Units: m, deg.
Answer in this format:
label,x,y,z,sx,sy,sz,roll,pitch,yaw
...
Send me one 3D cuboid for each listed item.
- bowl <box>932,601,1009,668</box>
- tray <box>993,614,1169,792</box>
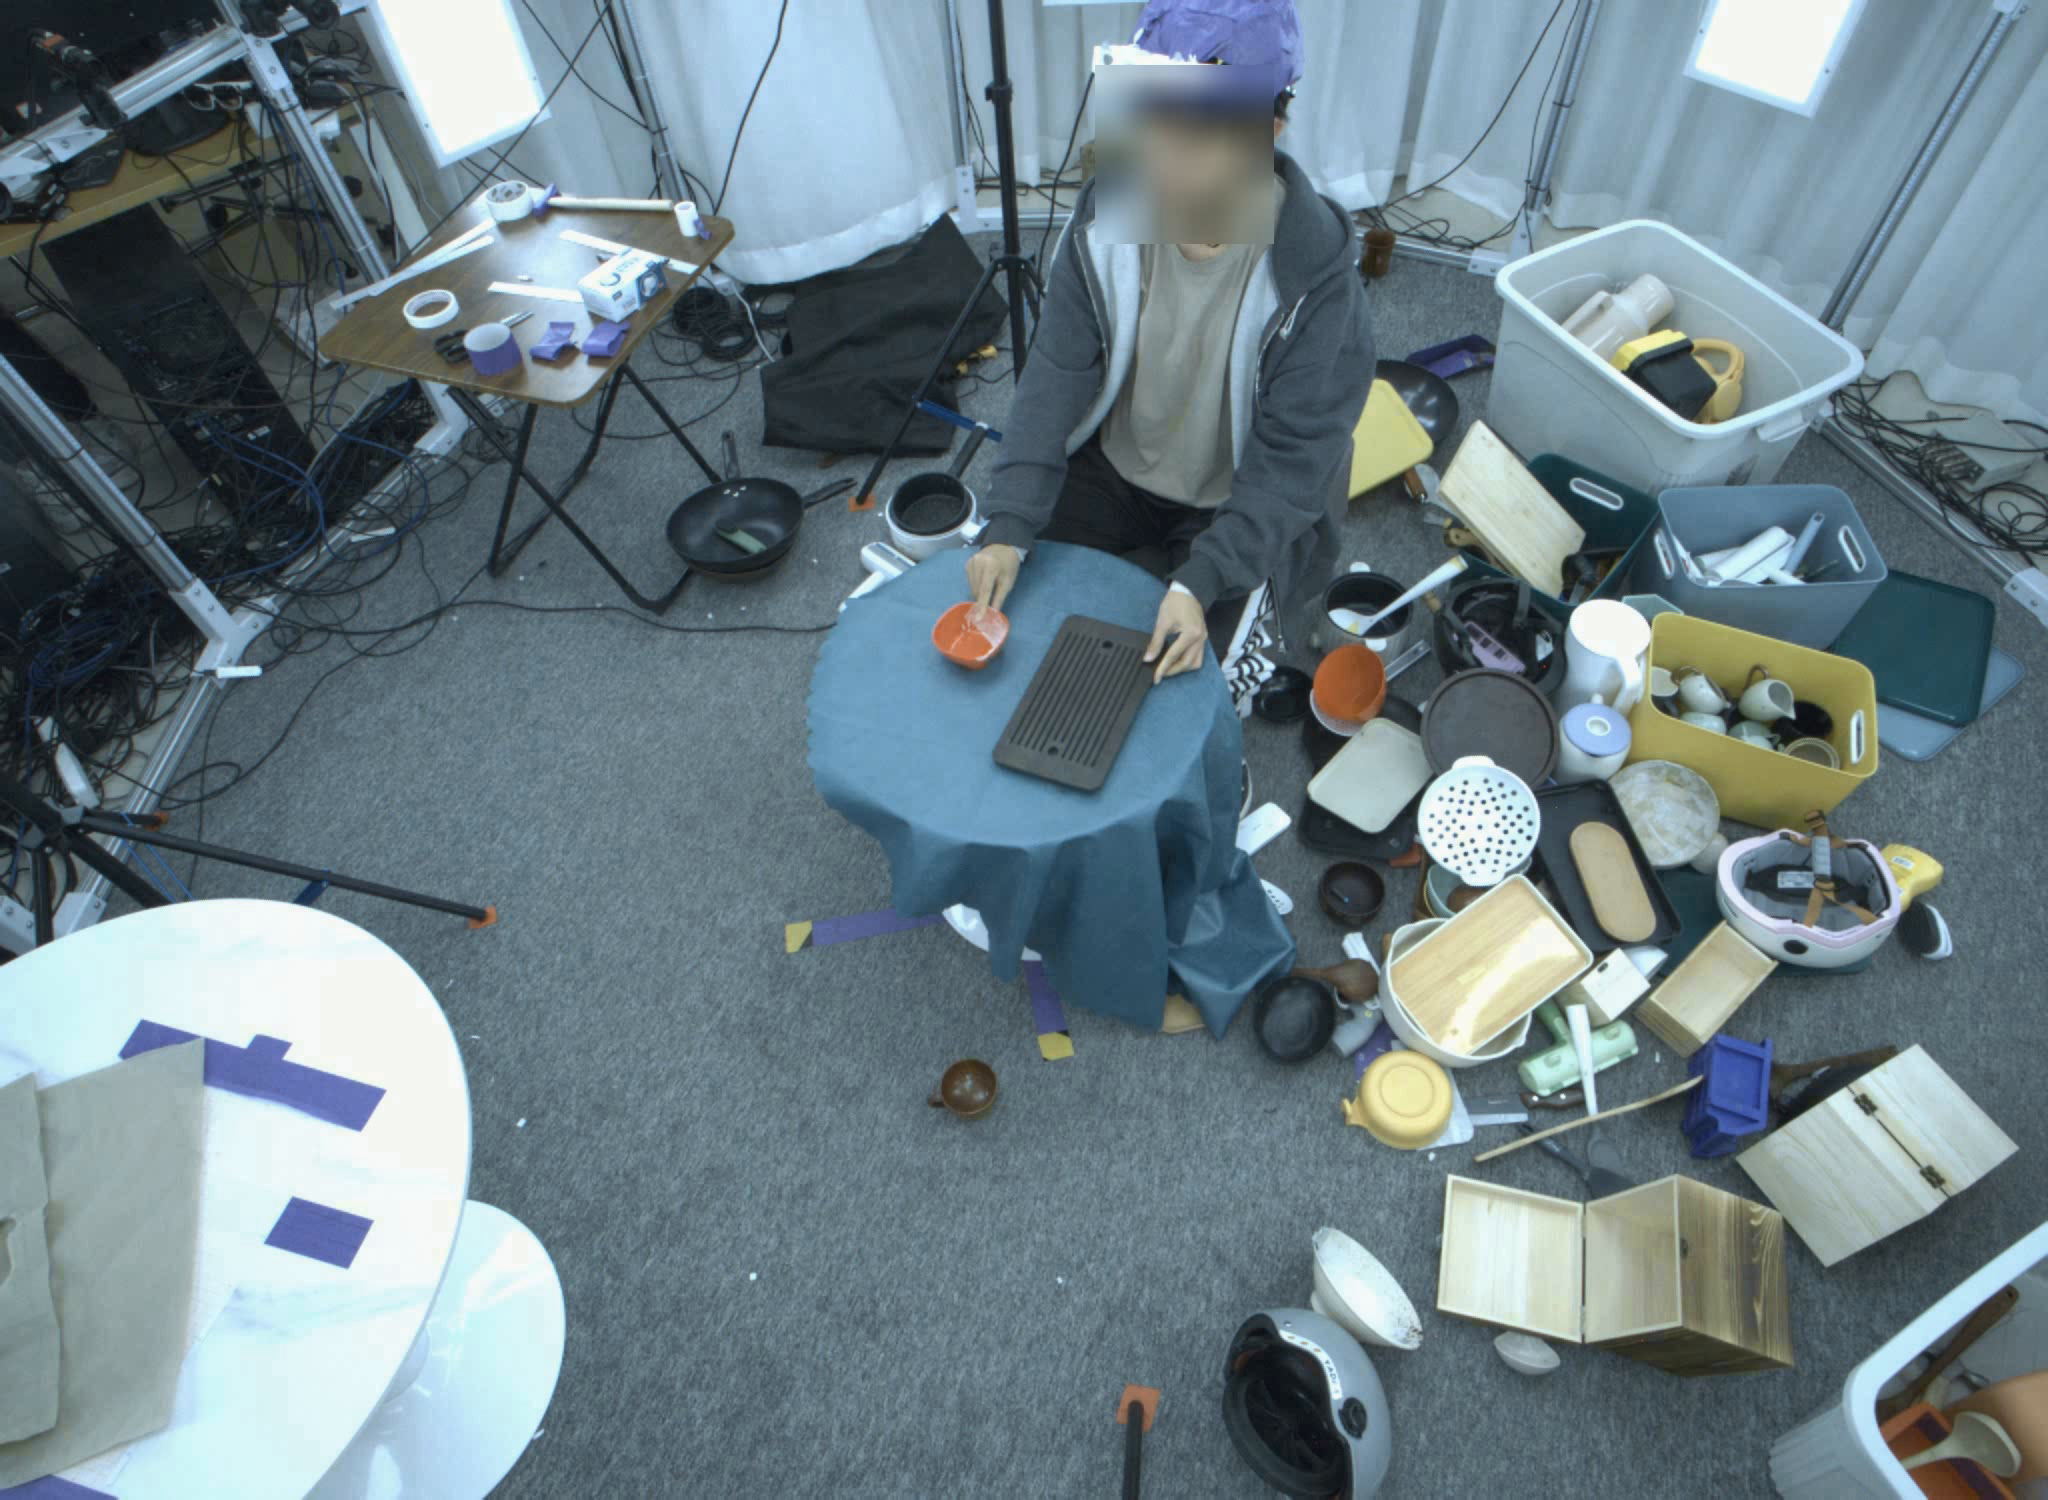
label,x,y,z,sx,sy,sz,roll,pitch,yaw
bowl,-0.080,-0.169,1.879,0.119,0.052,0.118,-1,56,3
tray,0.089,-0.074,1.826,0.168,0.019,0.306,17,57,16
